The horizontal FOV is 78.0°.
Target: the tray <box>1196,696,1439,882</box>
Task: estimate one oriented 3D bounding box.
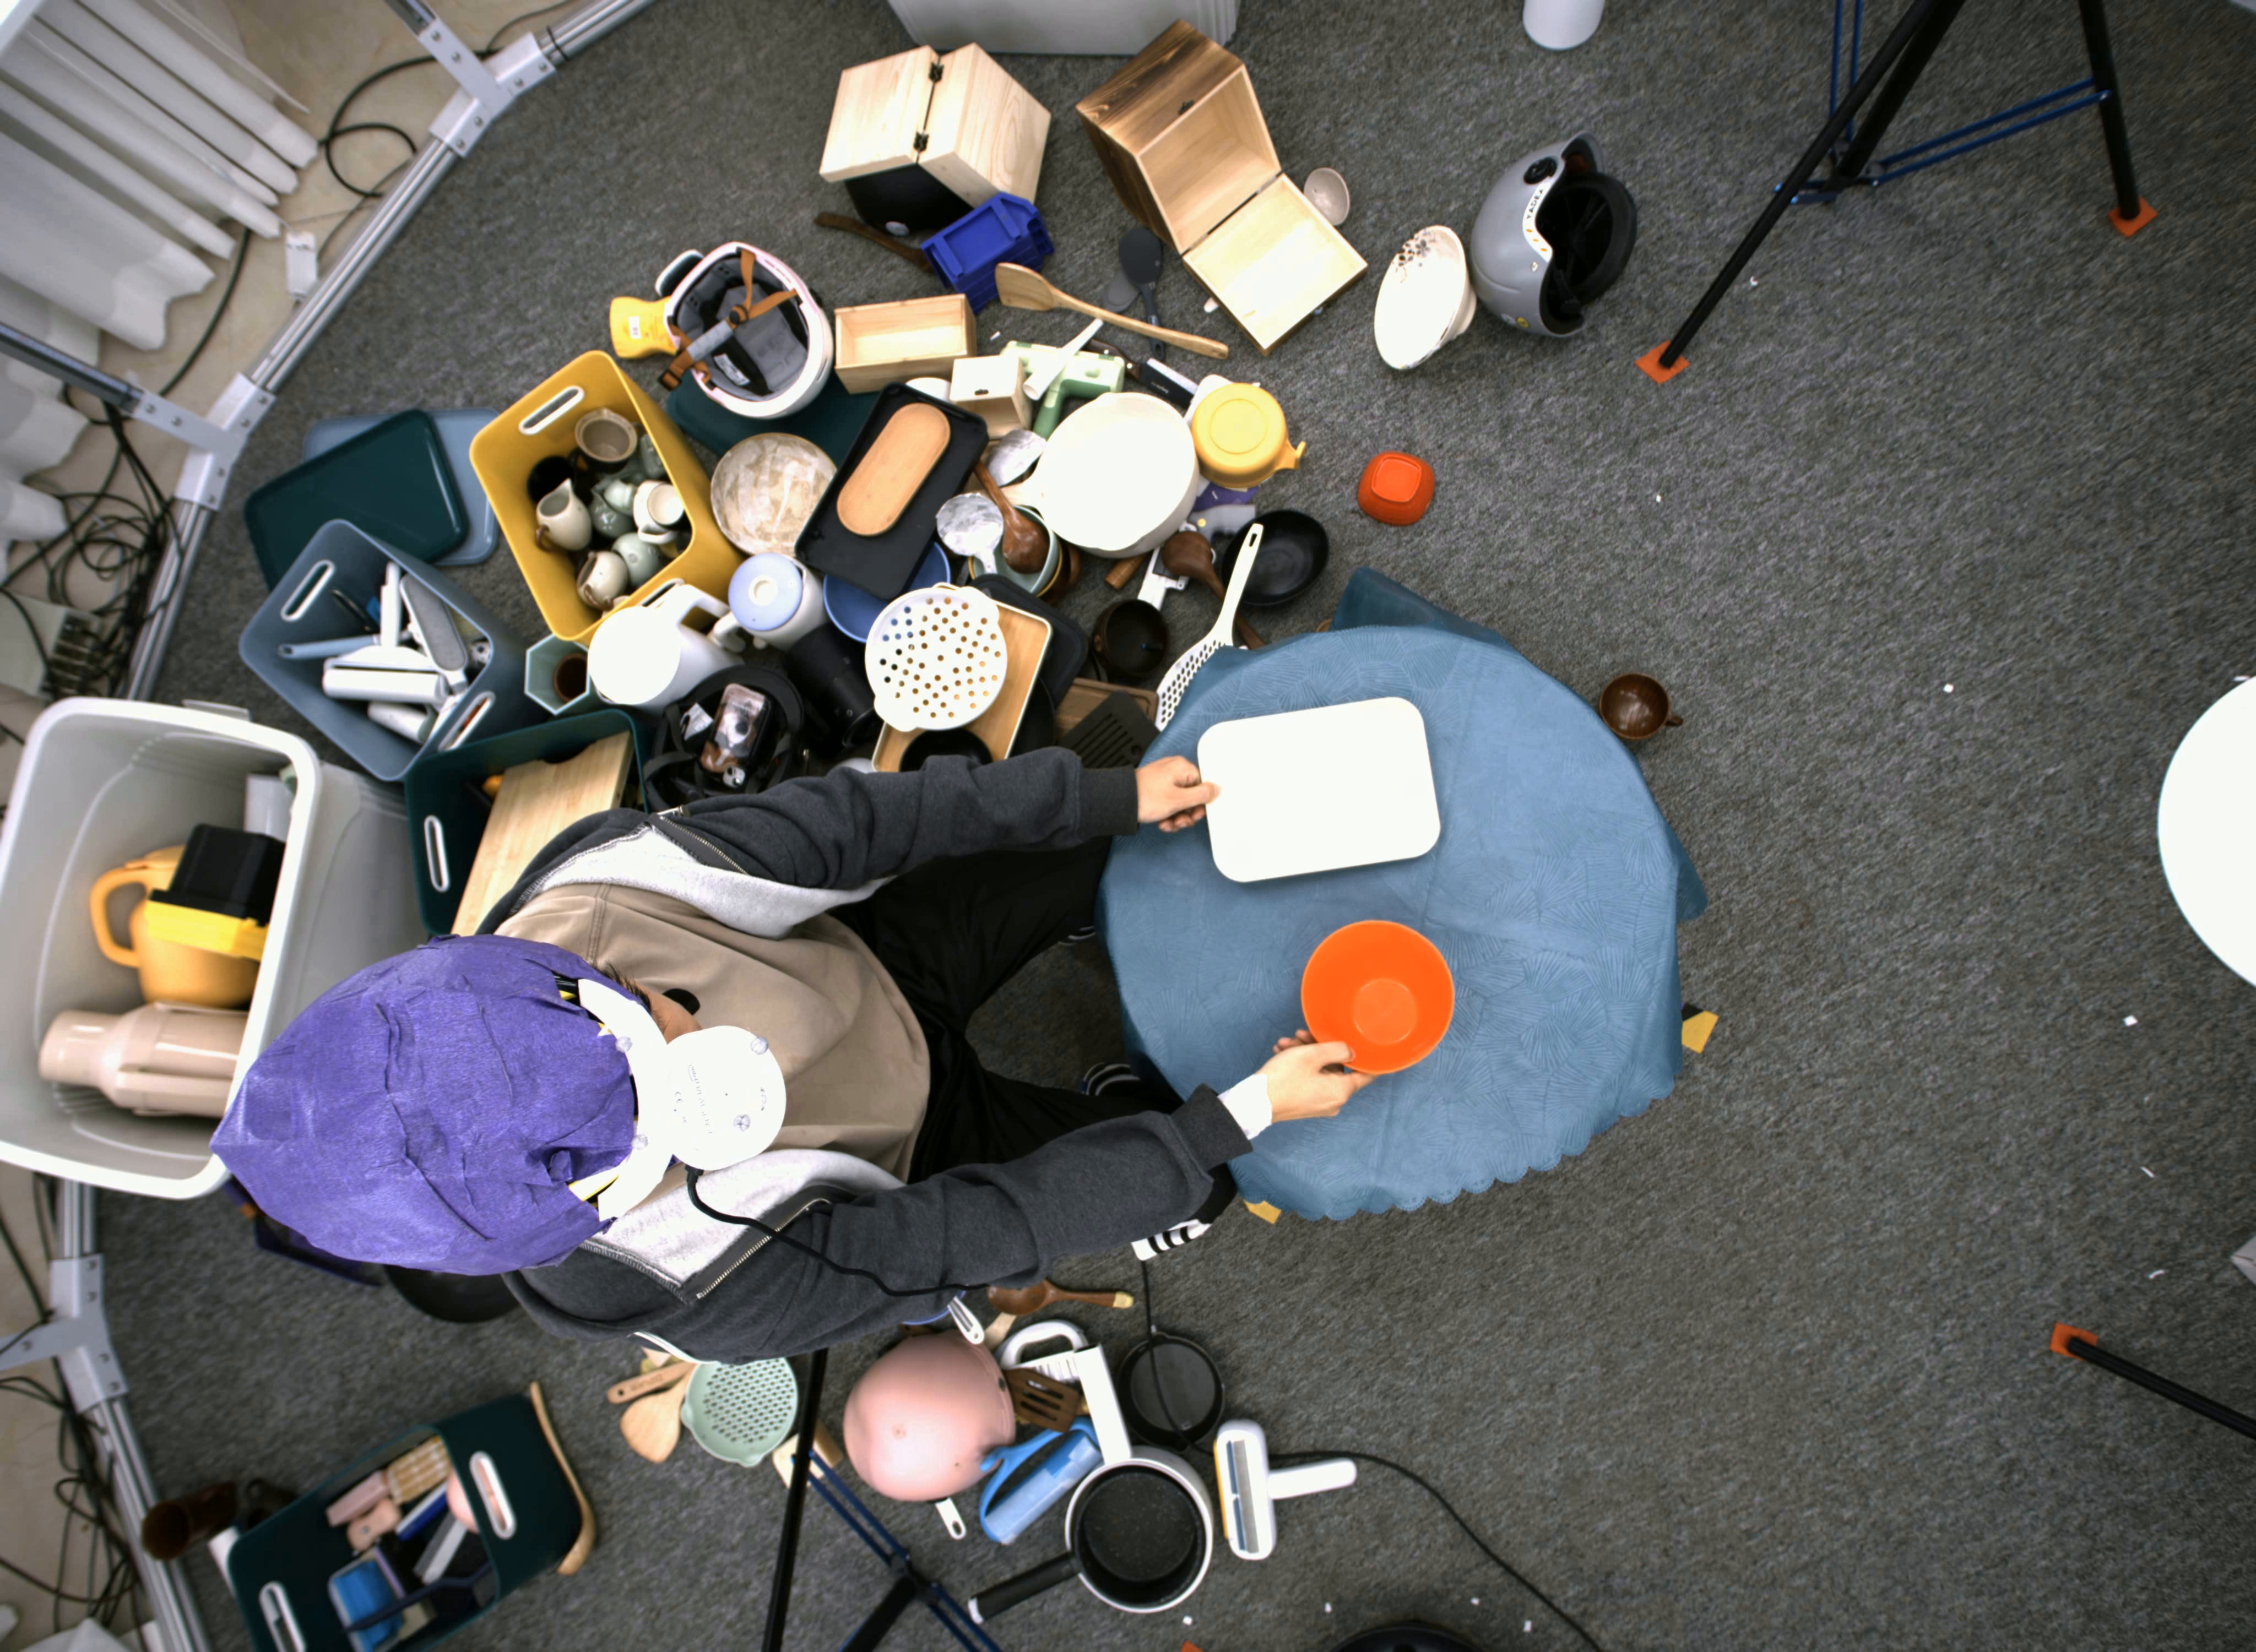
[{"bbox_3d":[0.198,-0.039,1.445,0.240,0.017,0.171,-9,89,3],"label":"tray"}]

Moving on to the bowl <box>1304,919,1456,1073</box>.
[{"bbox_3d":[0.254,0.171,1.383,0.149,0.105,0.147,-2,81,15],"label":"bowl"}]
